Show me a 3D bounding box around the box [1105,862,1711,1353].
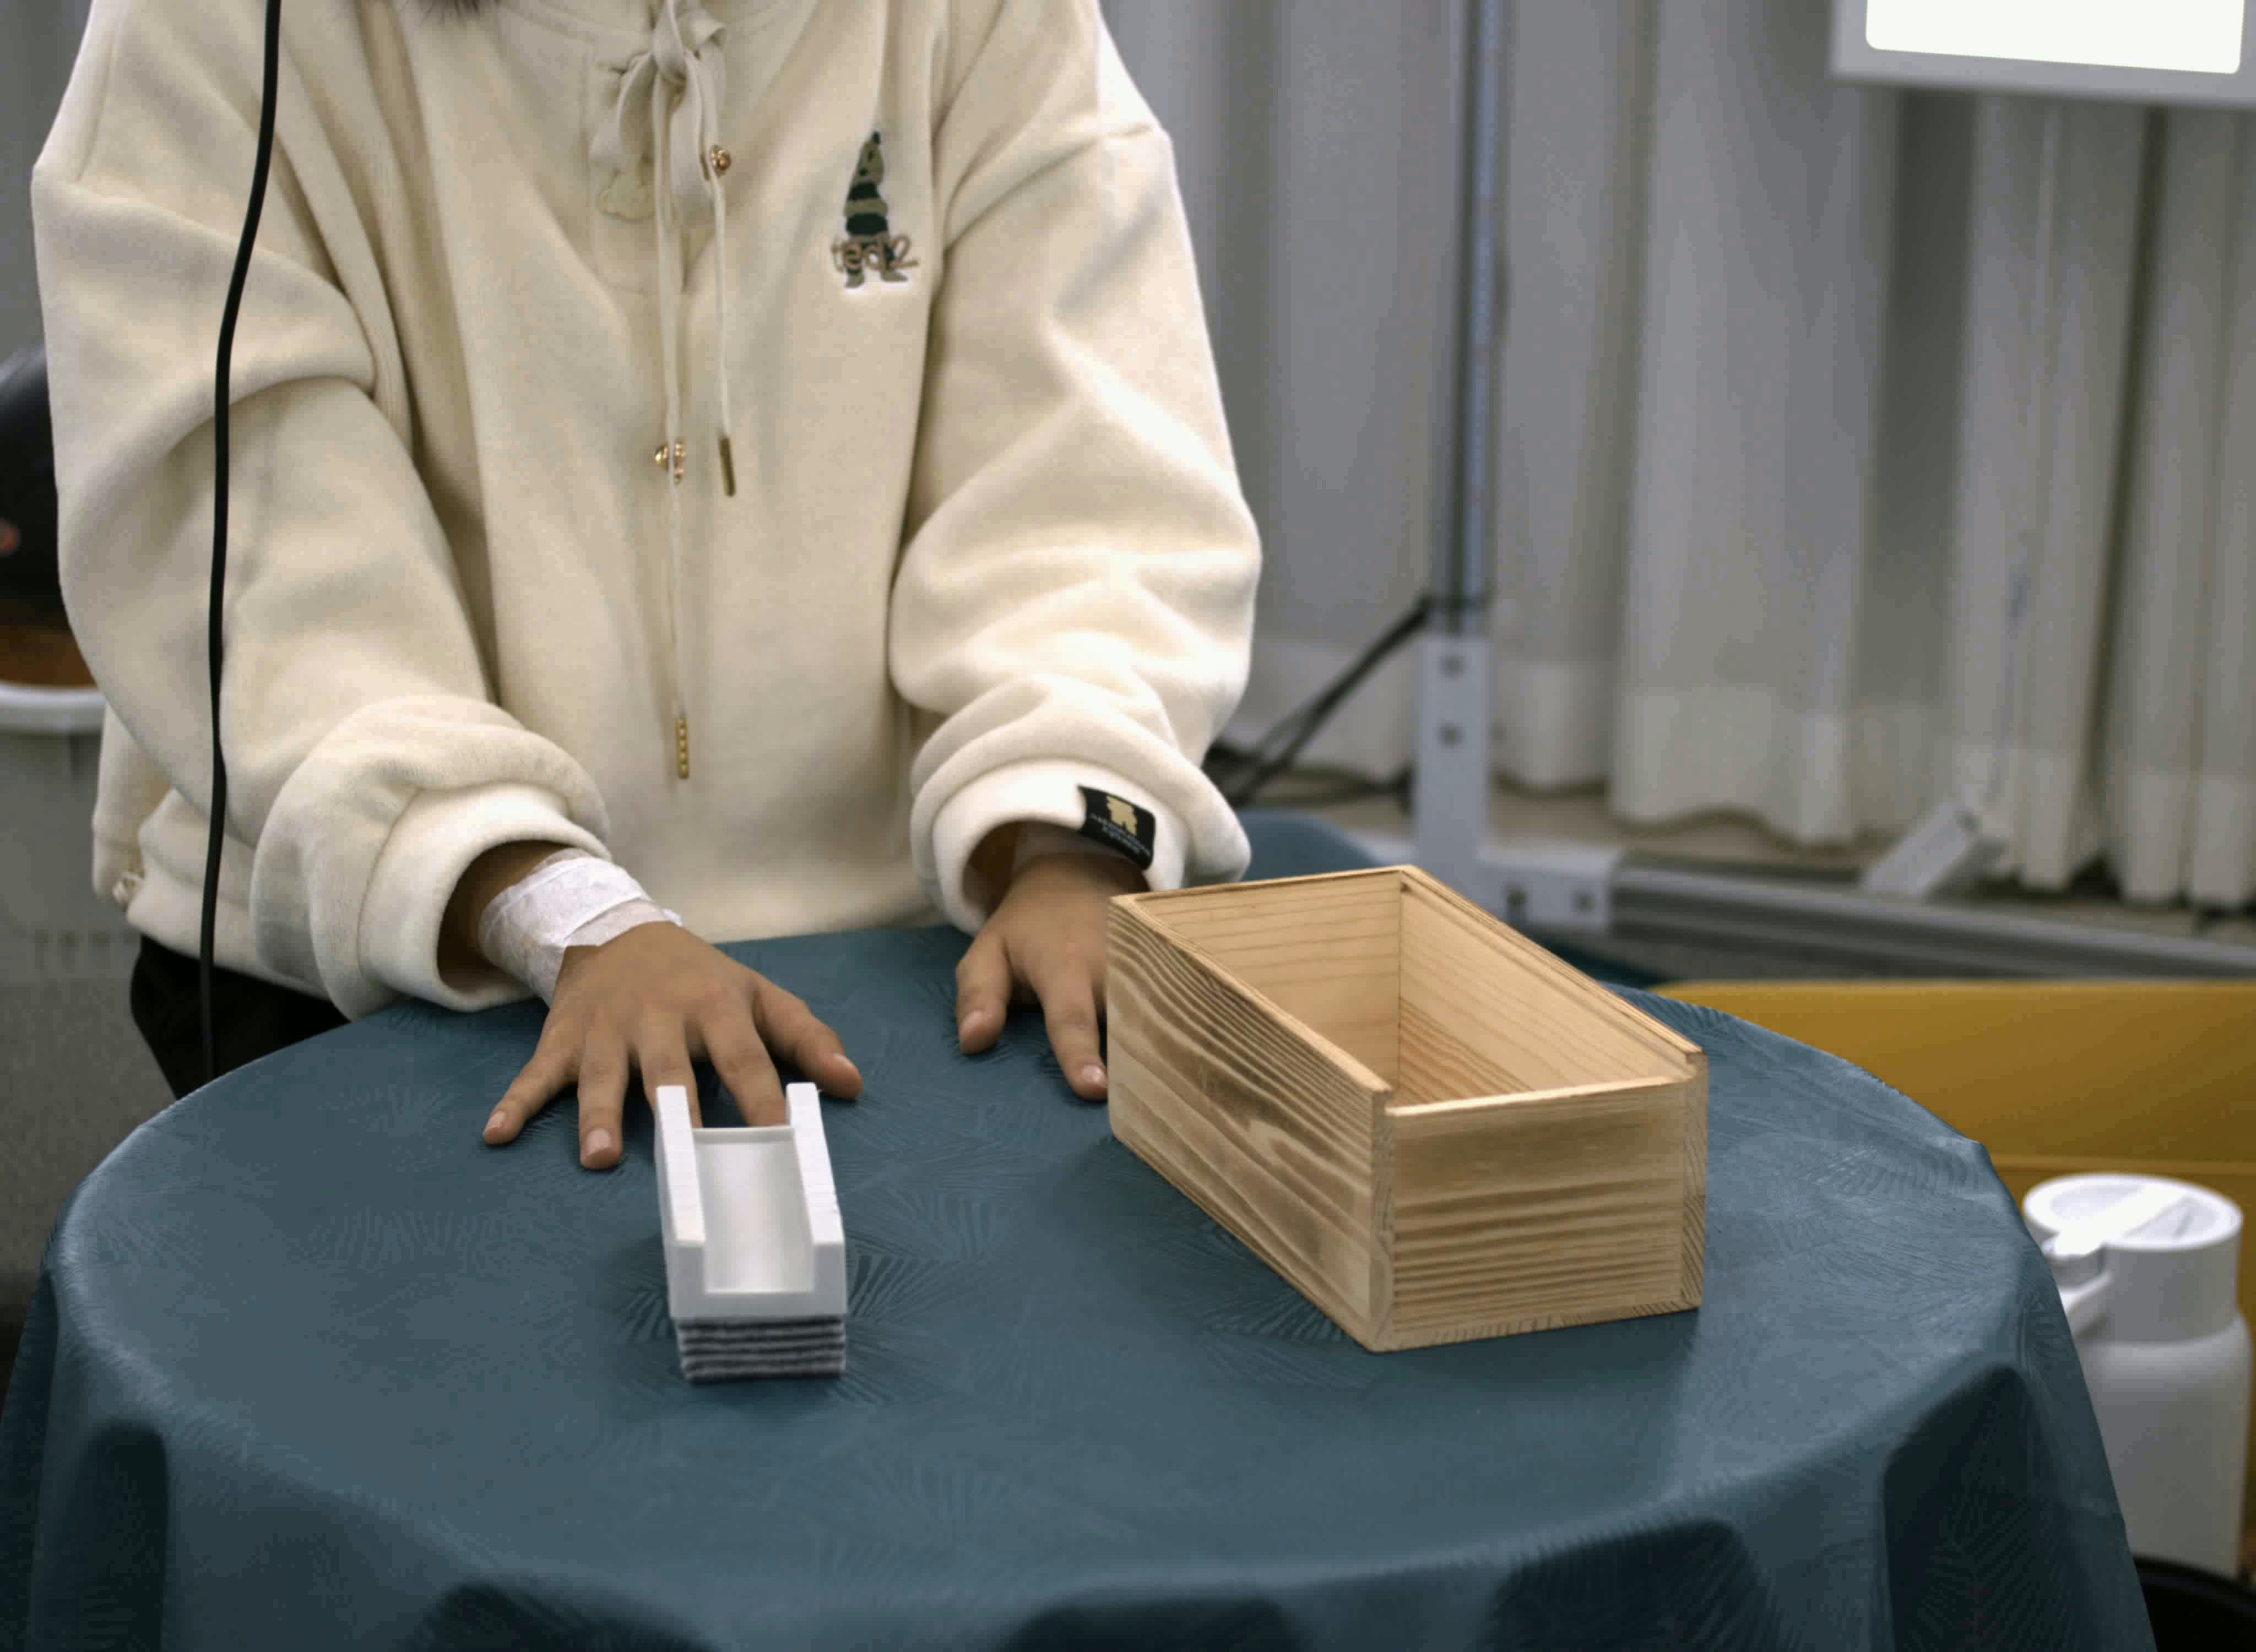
[{"bbox_3d":[0.080,0.080,1.590,0.108,0.081,0.209,-6,17,-21],"label":"box"}]

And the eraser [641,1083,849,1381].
[{"bbox_3d":[-0.112,0.115,1.519,0.050,0.047,0.133,-4,18,-8],"label":"eraser"}]
